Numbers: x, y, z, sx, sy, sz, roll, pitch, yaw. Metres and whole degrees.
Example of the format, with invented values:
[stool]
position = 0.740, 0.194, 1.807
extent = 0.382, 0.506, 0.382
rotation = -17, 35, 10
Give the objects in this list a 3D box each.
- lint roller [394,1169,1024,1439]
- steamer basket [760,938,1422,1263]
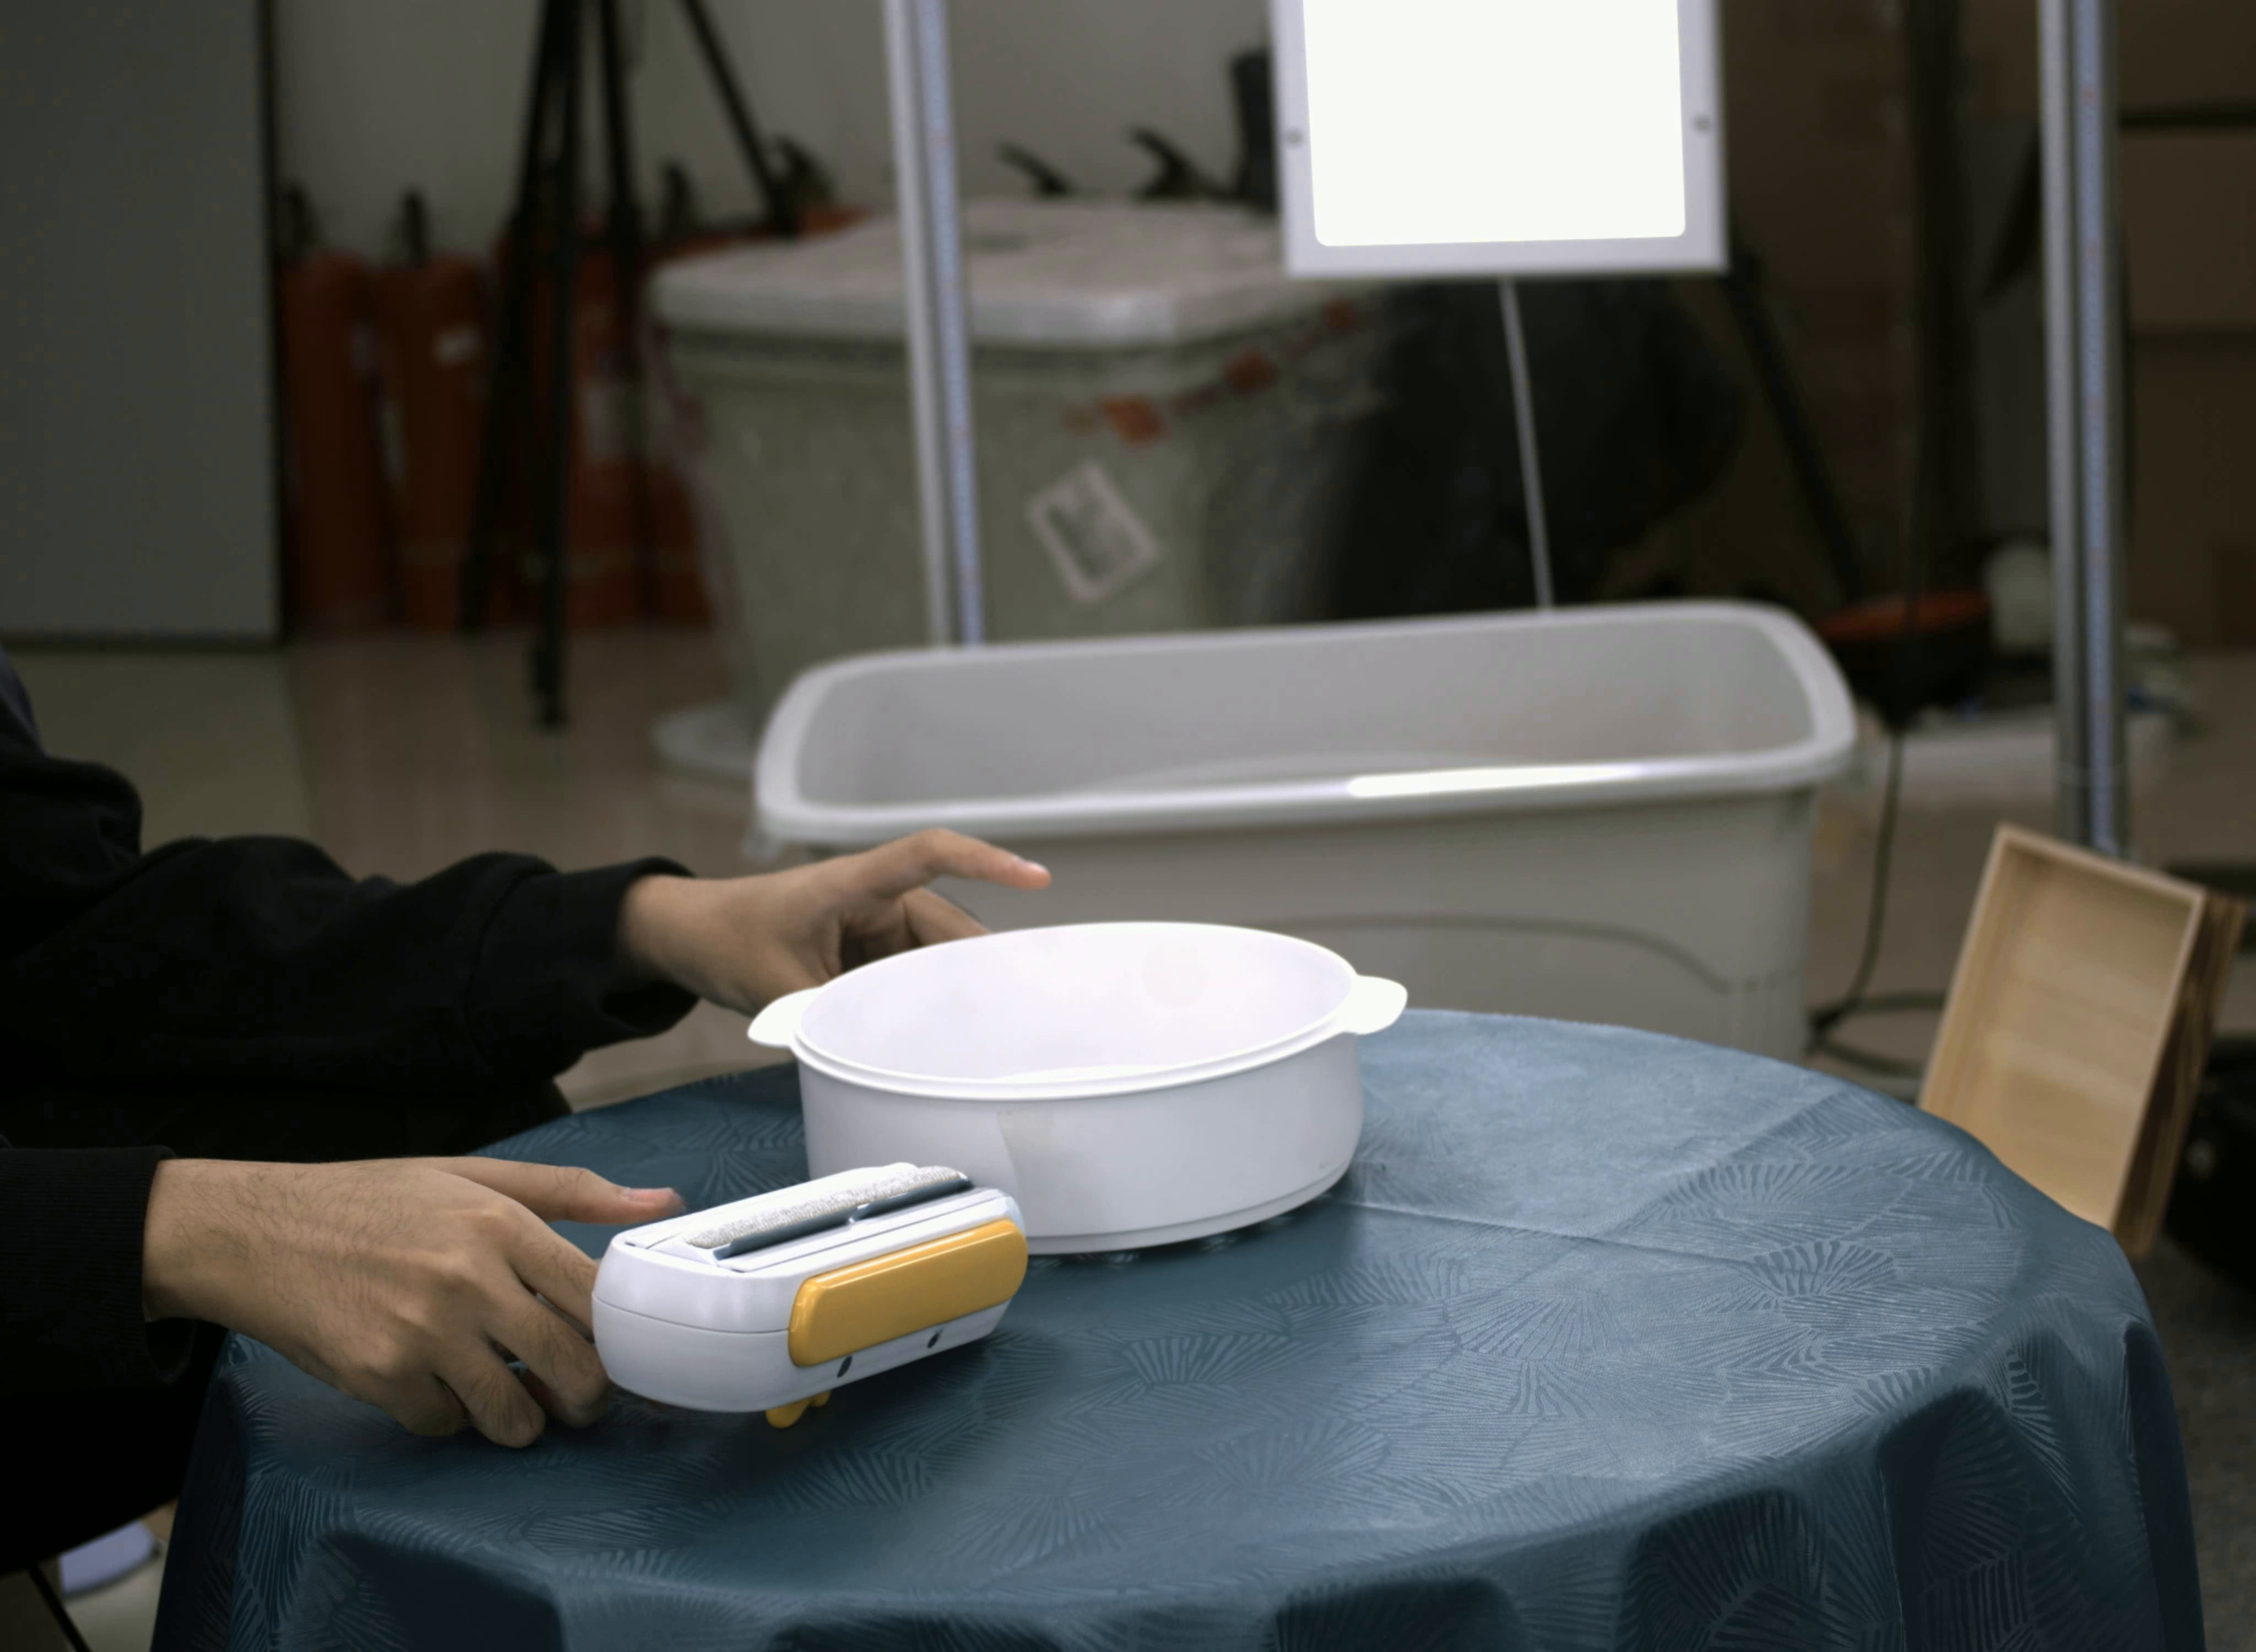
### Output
[lint roller]
position = -0.149, 0.148, 1.724
extent = 0.196, 0.074, 0.188
rotation = 1, 10, 32
[steamer basket]
position = -0.010, 0.094, 1.900
extent = 0.232, 0.069, 0.199
rotation = -4, 12, 14
